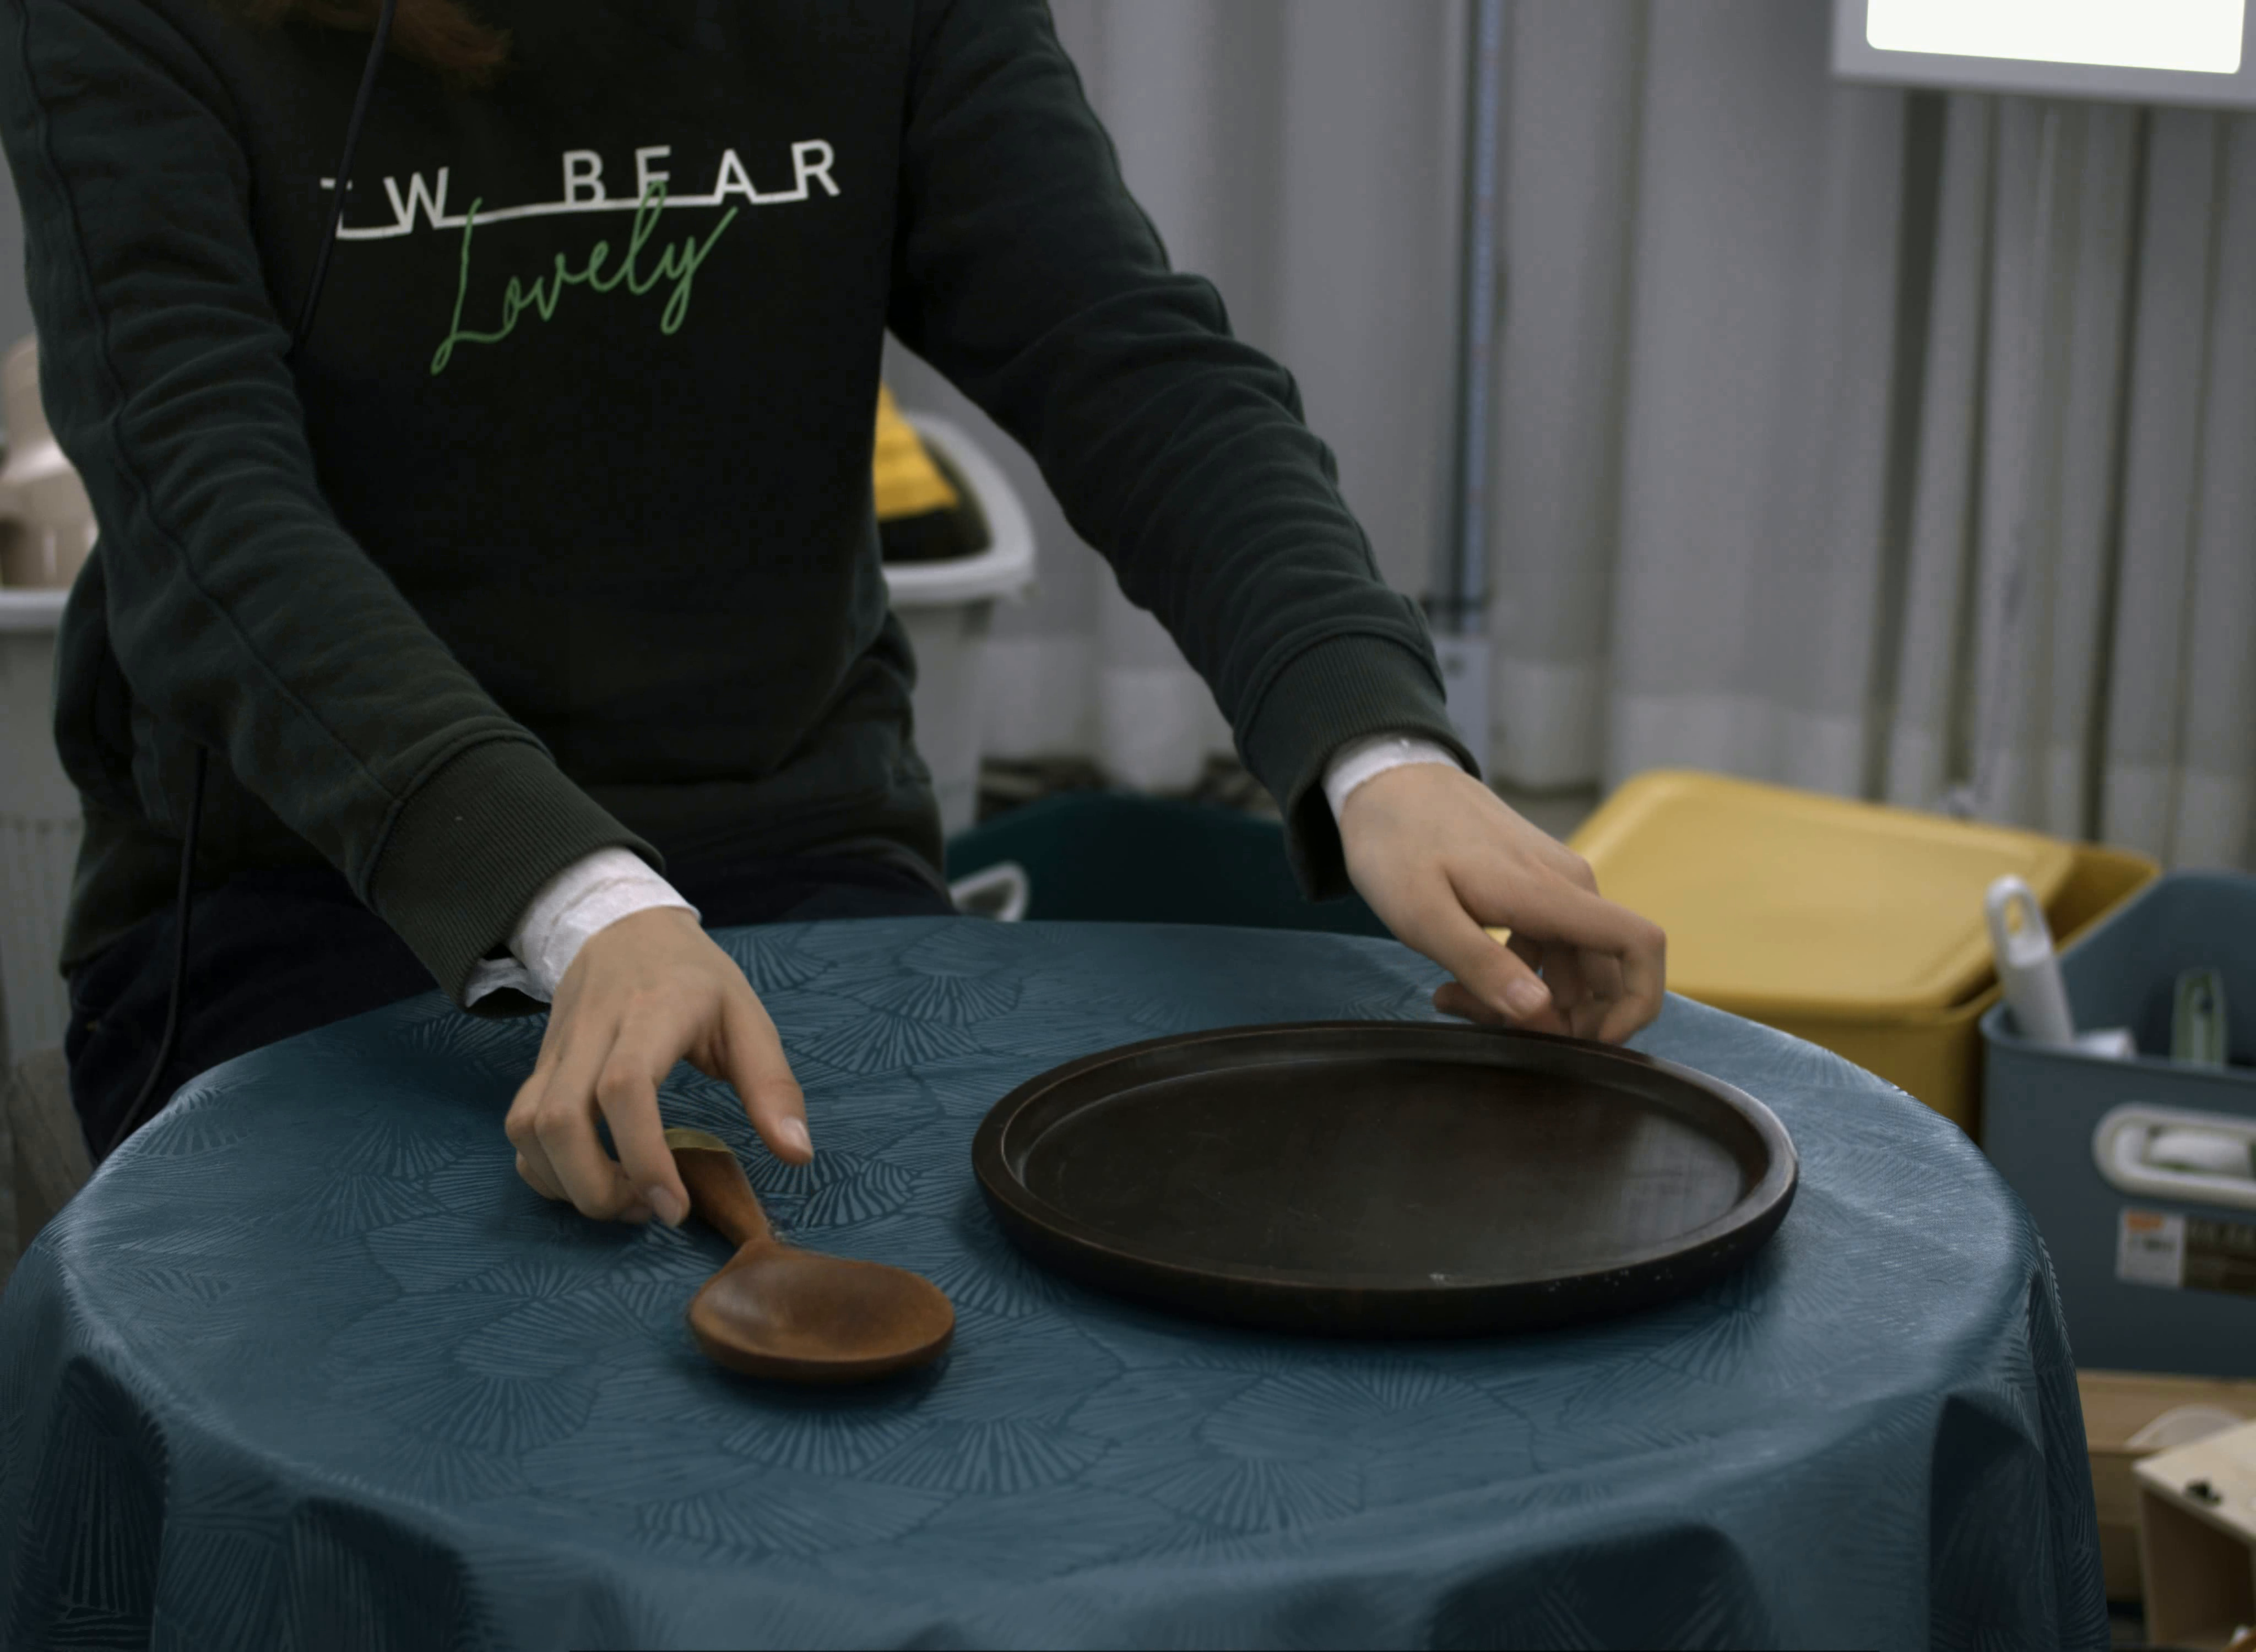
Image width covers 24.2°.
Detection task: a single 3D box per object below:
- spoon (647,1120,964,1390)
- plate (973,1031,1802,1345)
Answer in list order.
[{"bbox_3d":[-0.105,0.126,1.543,0.075,0.017,0.213,-5,17,-18],"label":"spoon"},{"bbox_3d":[0.079,0.107,1.609,0.254,0.029,0.253,2,16,0],"label":"plate"}]
